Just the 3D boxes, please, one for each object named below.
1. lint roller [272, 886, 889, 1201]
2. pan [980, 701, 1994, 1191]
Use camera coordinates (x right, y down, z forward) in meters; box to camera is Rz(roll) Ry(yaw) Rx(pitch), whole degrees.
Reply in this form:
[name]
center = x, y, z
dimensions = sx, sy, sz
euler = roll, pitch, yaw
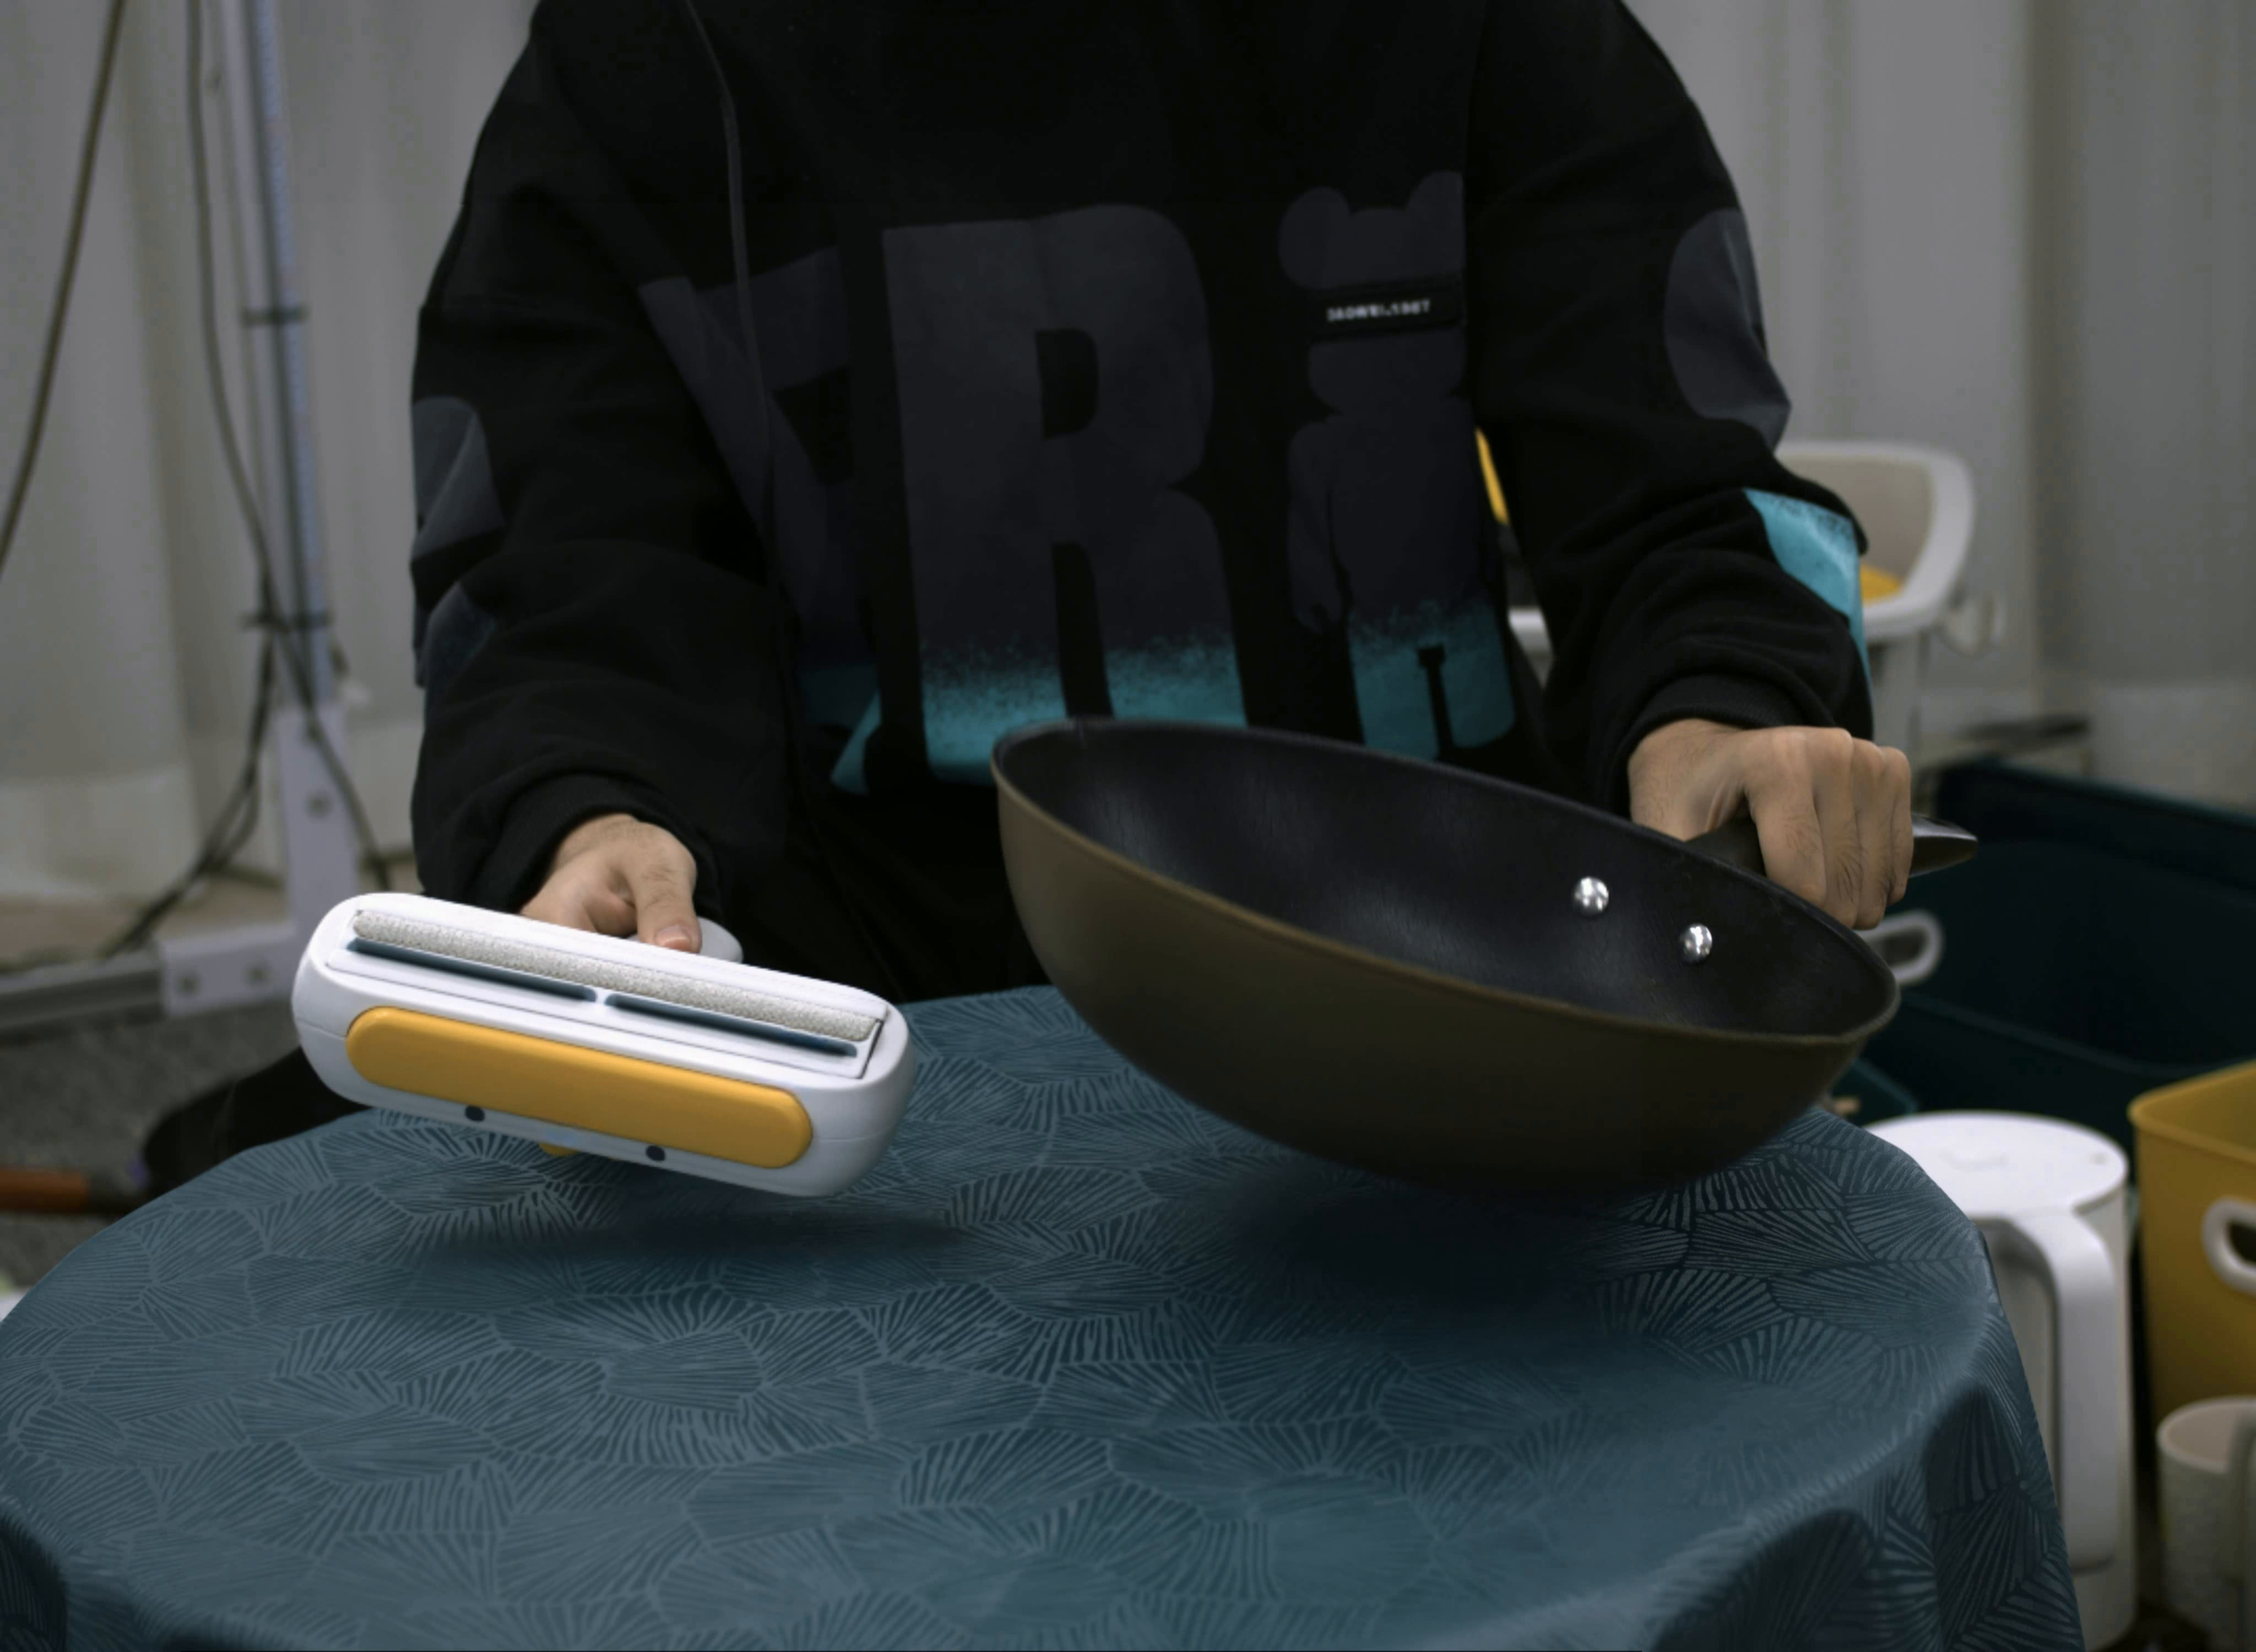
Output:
[lint roller]
center = -0.157, 0.054, 1.743
dimensions = 0.192, 0.074, 0.193
euler = 9, 21, 10
[pan]
center = 0.137, 0.041, 1.720
dimensions = 0.290, 0.086, 0.461
euler = 24, 15, 34
